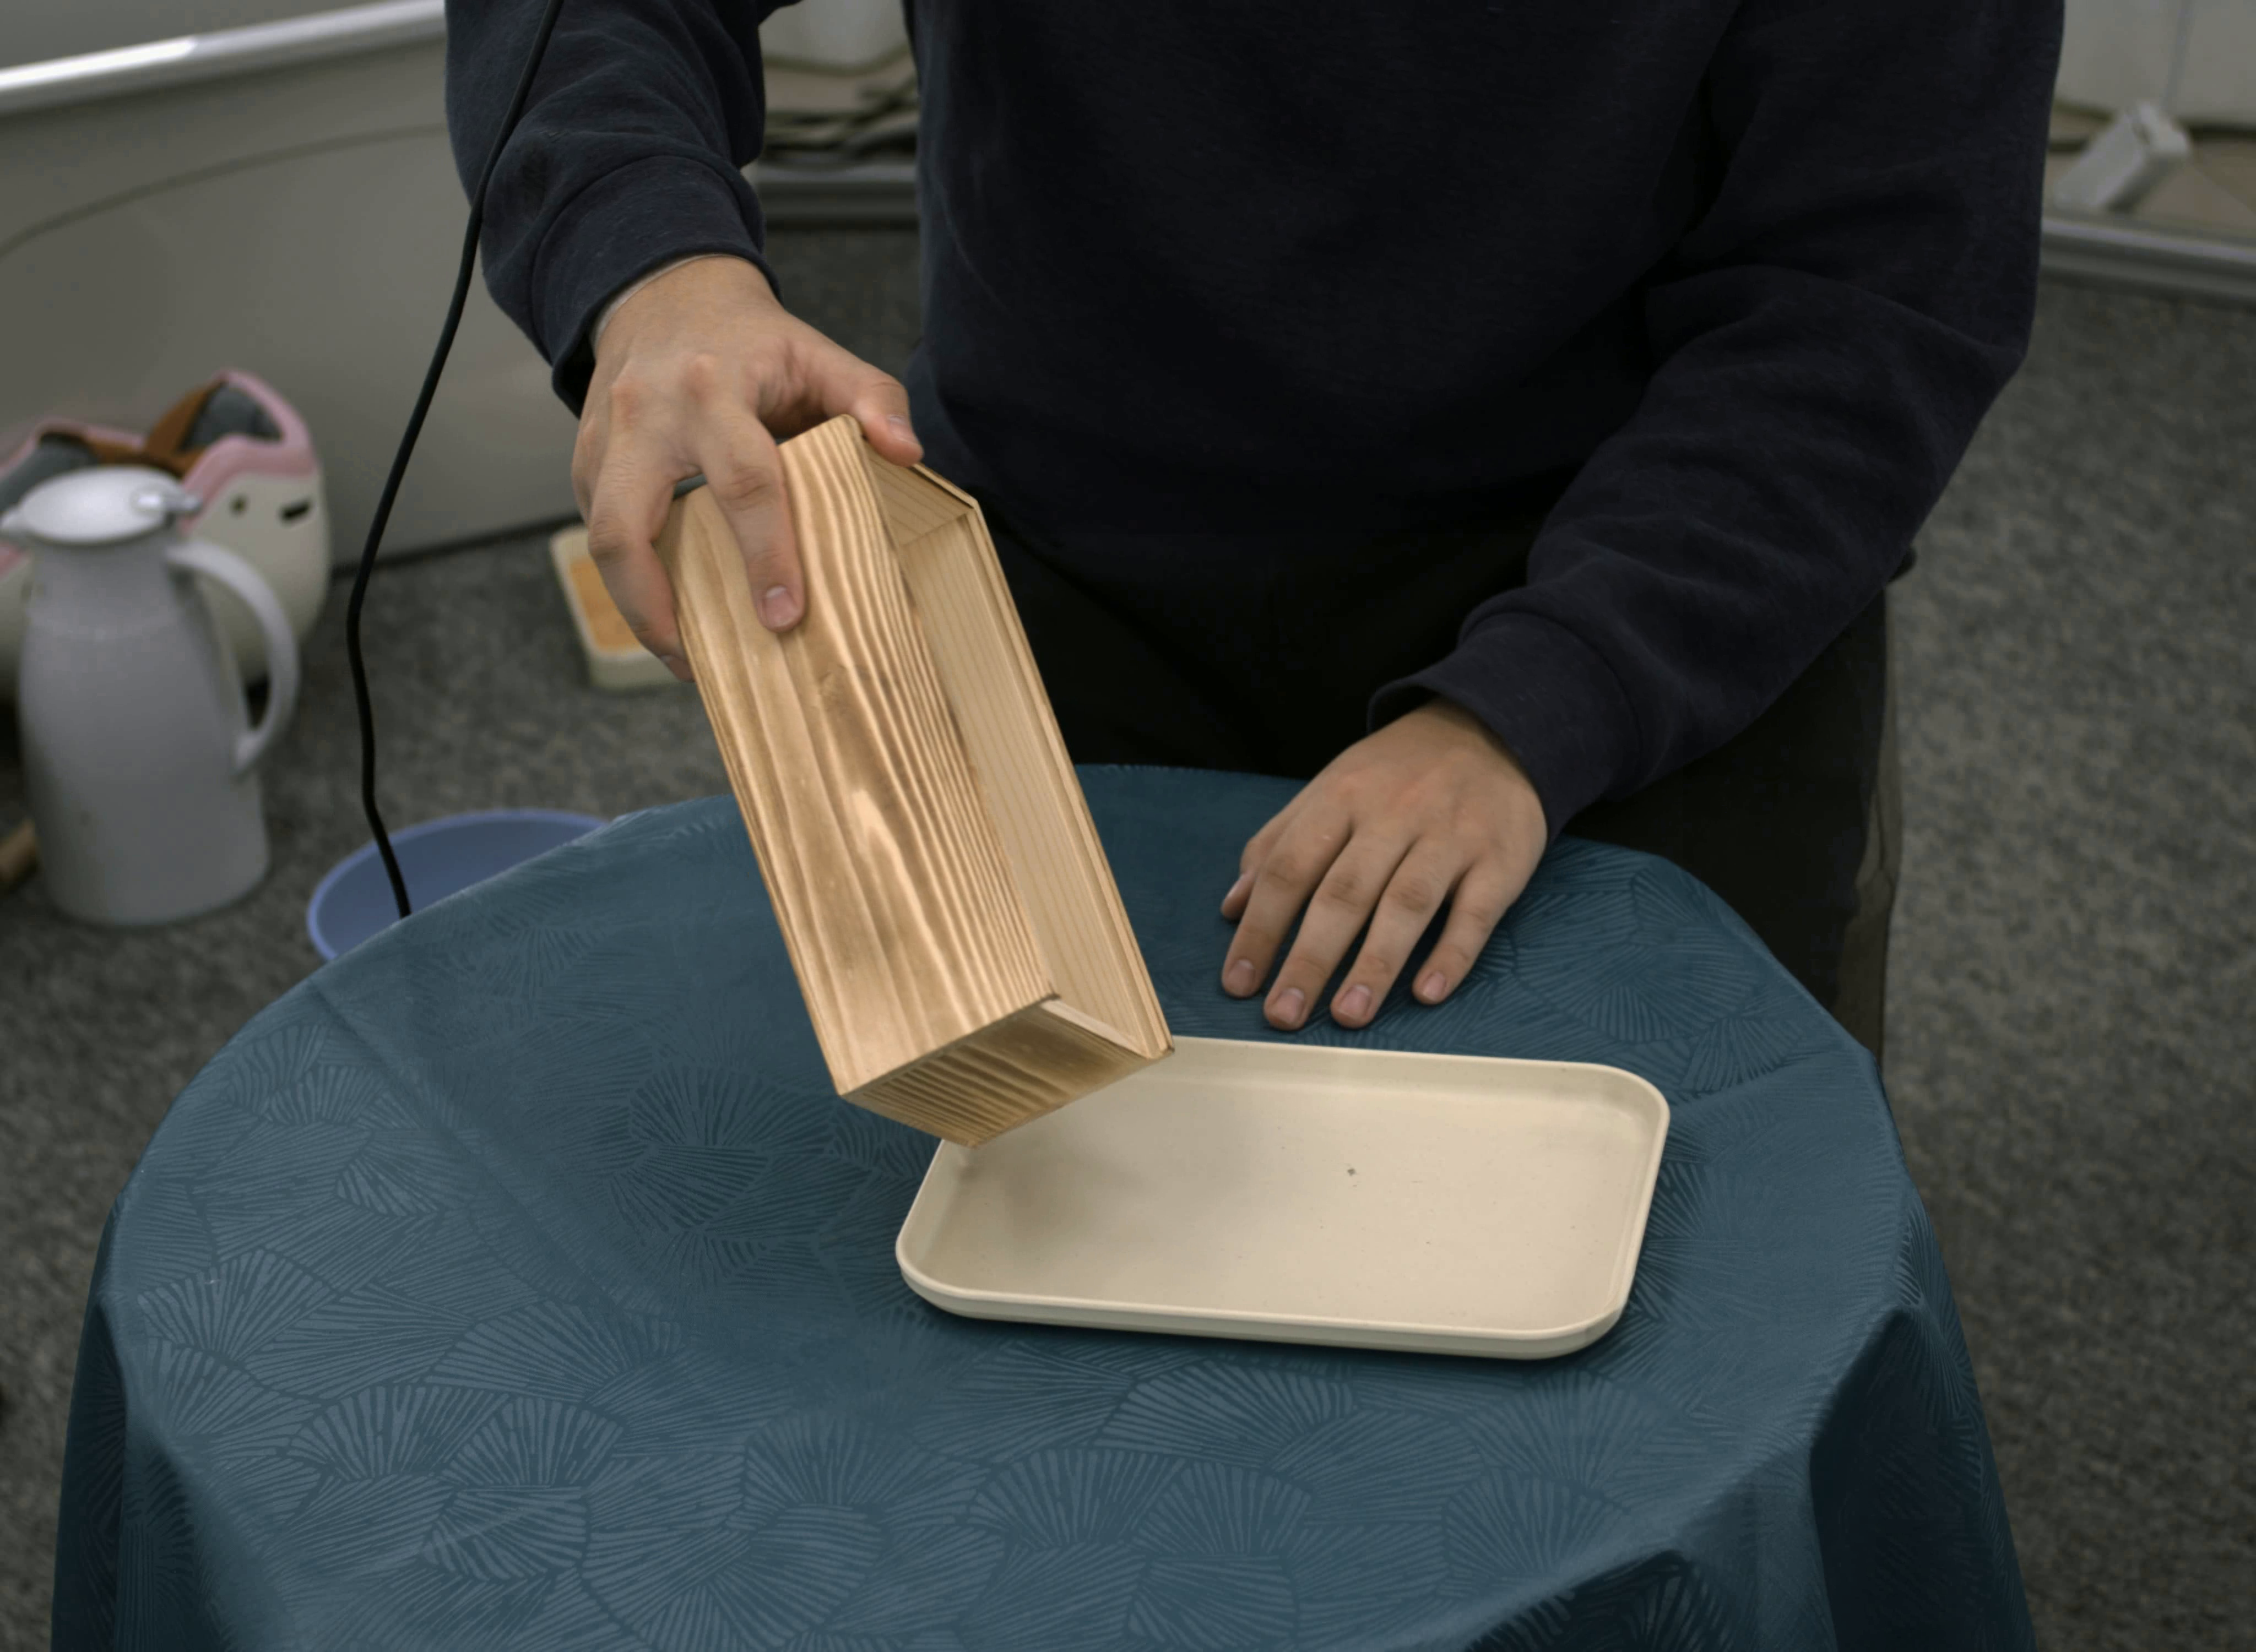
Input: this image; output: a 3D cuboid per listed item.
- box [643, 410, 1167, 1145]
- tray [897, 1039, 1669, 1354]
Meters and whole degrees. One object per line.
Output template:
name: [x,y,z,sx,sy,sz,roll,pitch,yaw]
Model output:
box: [-0.073,-0.014,1.833,0.079,0.214,0.107,-26,-22,15]
tray: [0.053,0.121,1.843,0.238,0.017,0.174,3,27,11]
